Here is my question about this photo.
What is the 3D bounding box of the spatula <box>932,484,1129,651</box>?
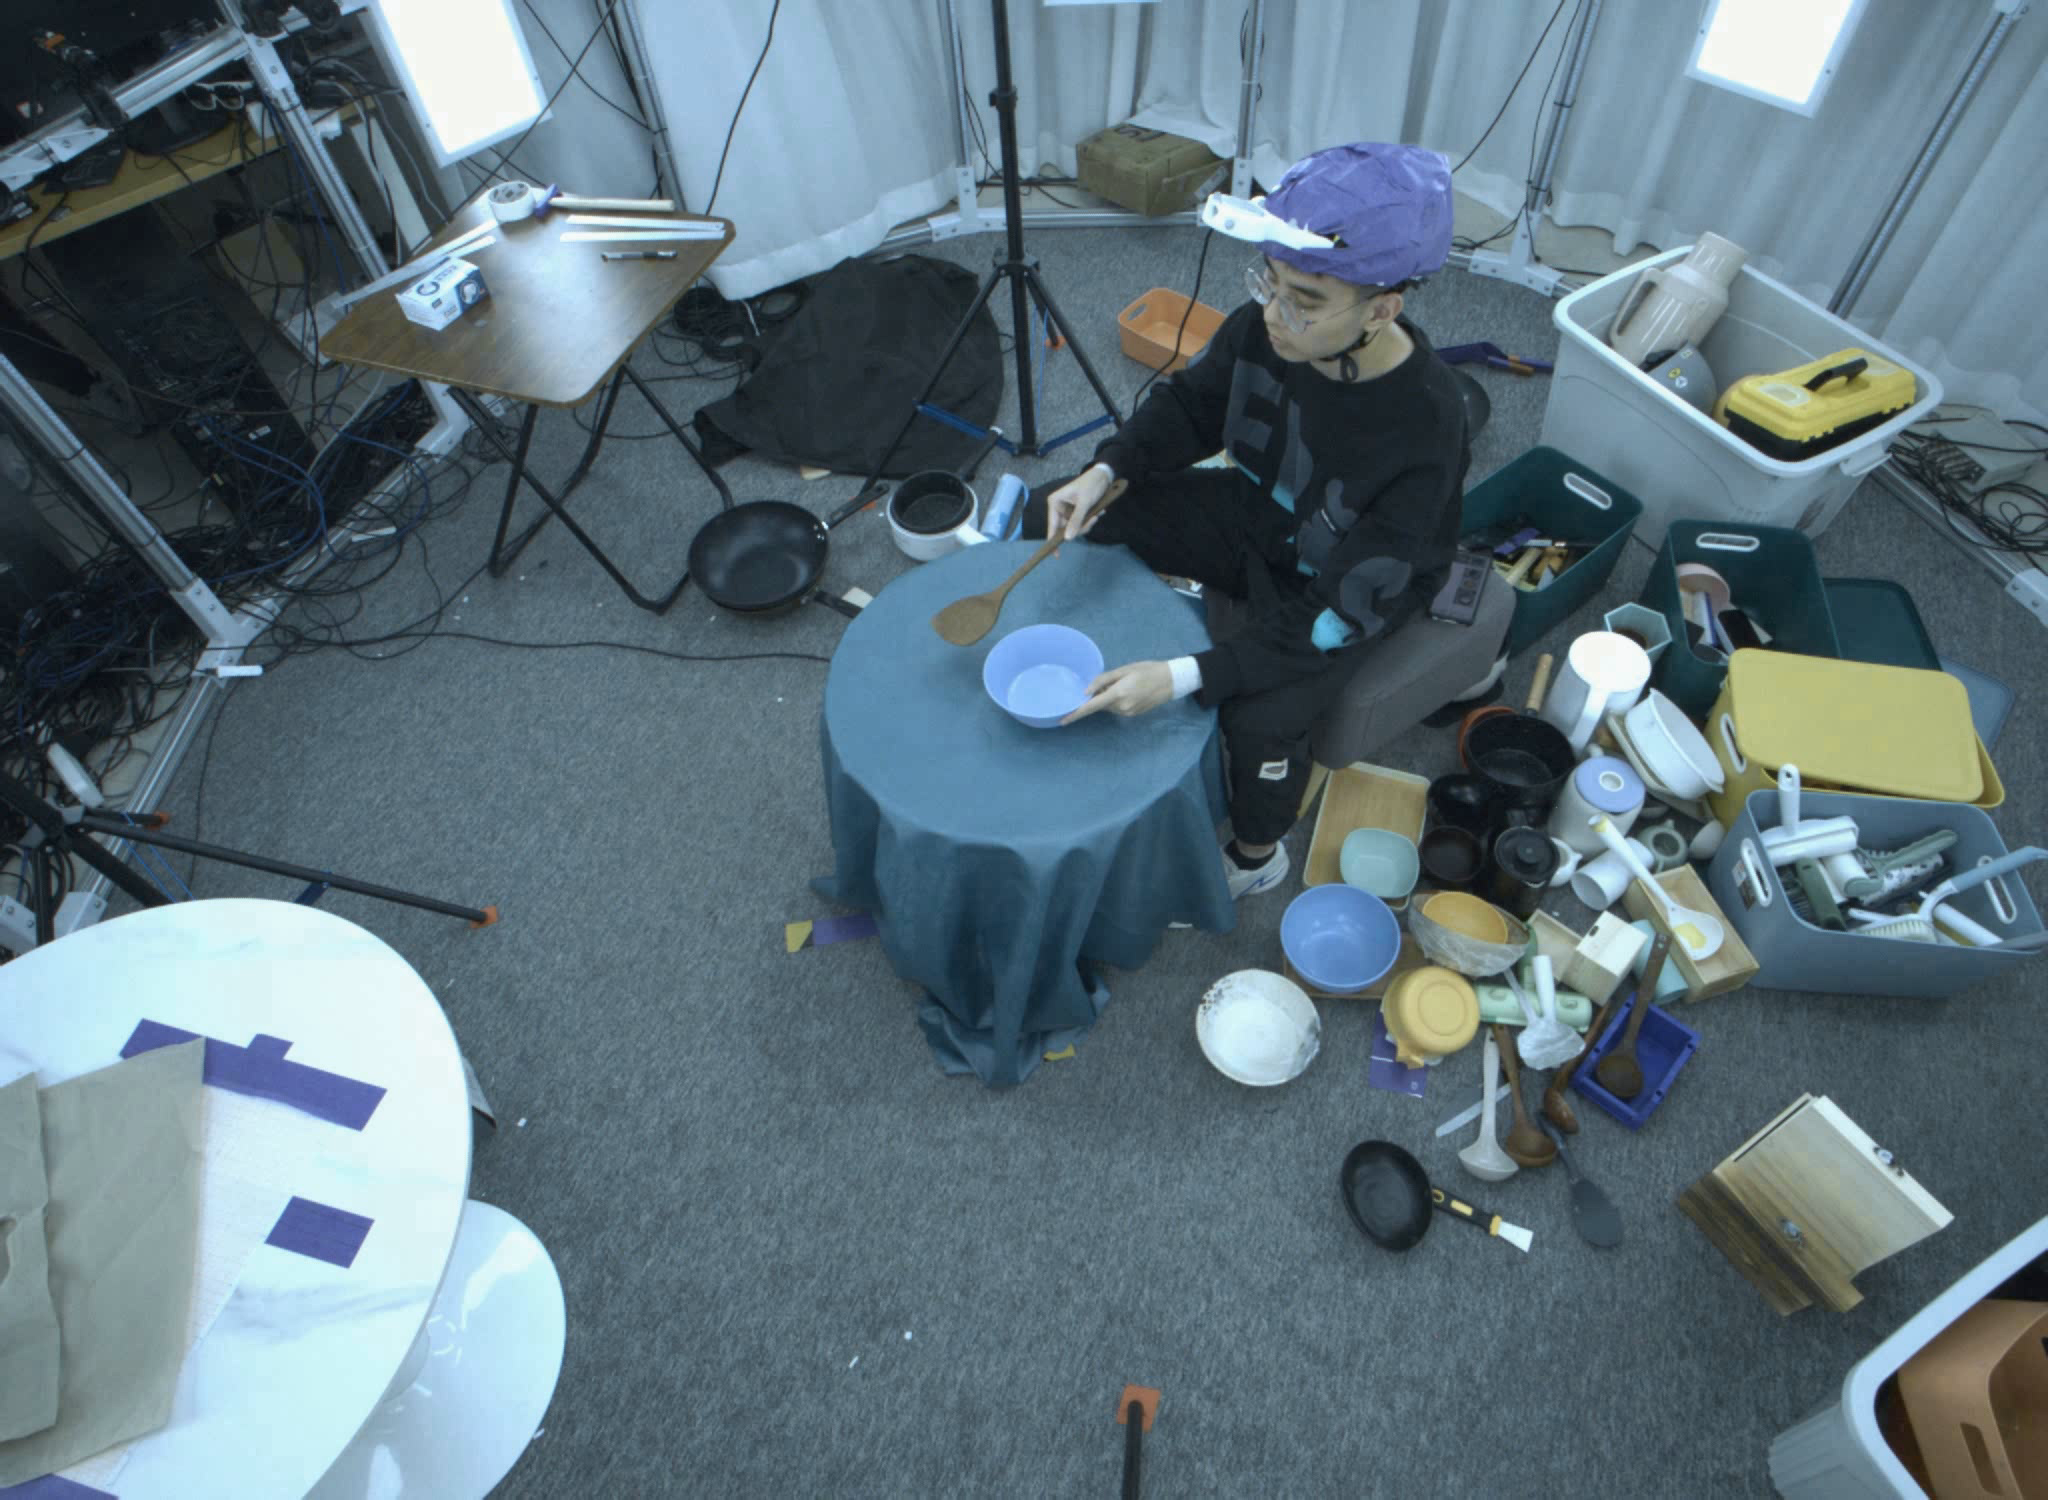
[{"bbox_3d":[0.020,-0.287,1.867,0.387,0.016,0.094,-43,55,-12],"label":"spatula"}]

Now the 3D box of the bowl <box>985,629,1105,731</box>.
[{"bbox_3d":[0.032,-0.093,1.818,0.176,0.071,0.174,-1,54,2],"label":"bowl"}]
